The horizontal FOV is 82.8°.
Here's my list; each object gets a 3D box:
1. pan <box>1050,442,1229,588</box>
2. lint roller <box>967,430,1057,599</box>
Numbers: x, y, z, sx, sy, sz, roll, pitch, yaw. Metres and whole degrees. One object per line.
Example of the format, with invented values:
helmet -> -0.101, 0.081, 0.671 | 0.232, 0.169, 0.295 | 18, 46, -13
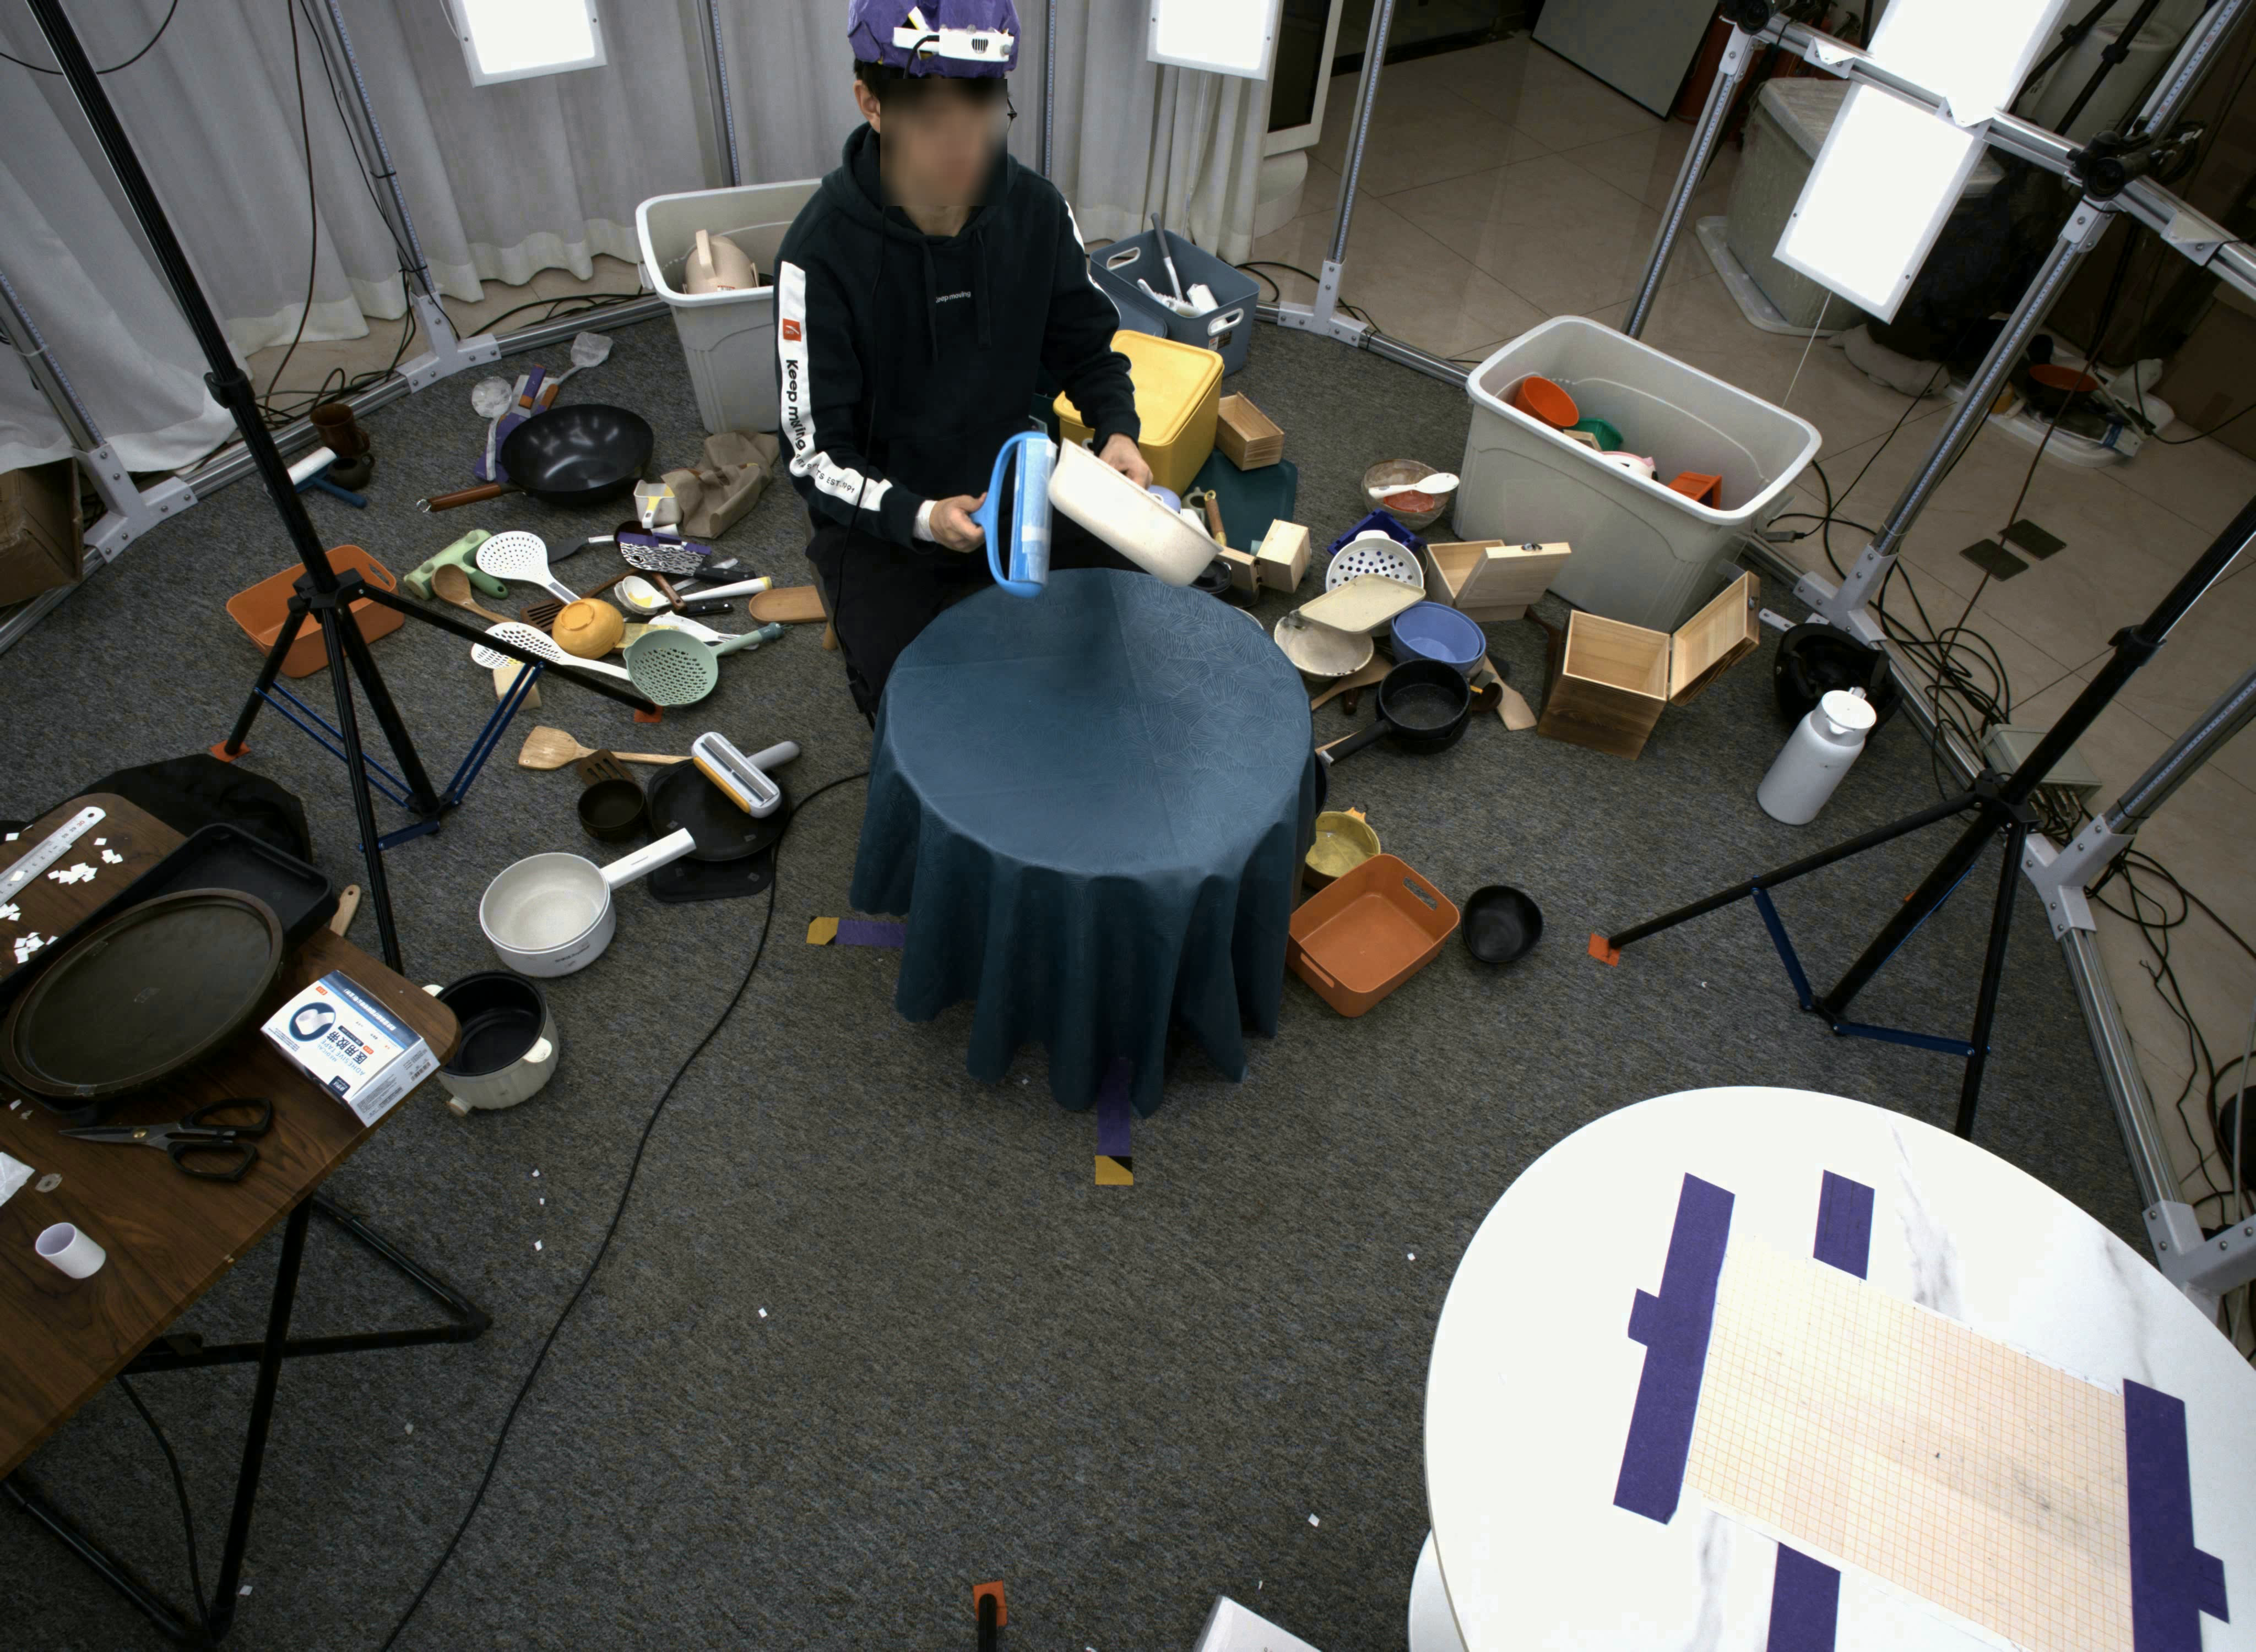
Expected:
pan -> -0.007, -0.440, 1.798 | 0.261, 0.101, 0.442 | 29, 11, -19
lint roller -> -0.175, -0.419, 1.781 | 0.181, 0.230, 0.067 | -3, -6, 39
